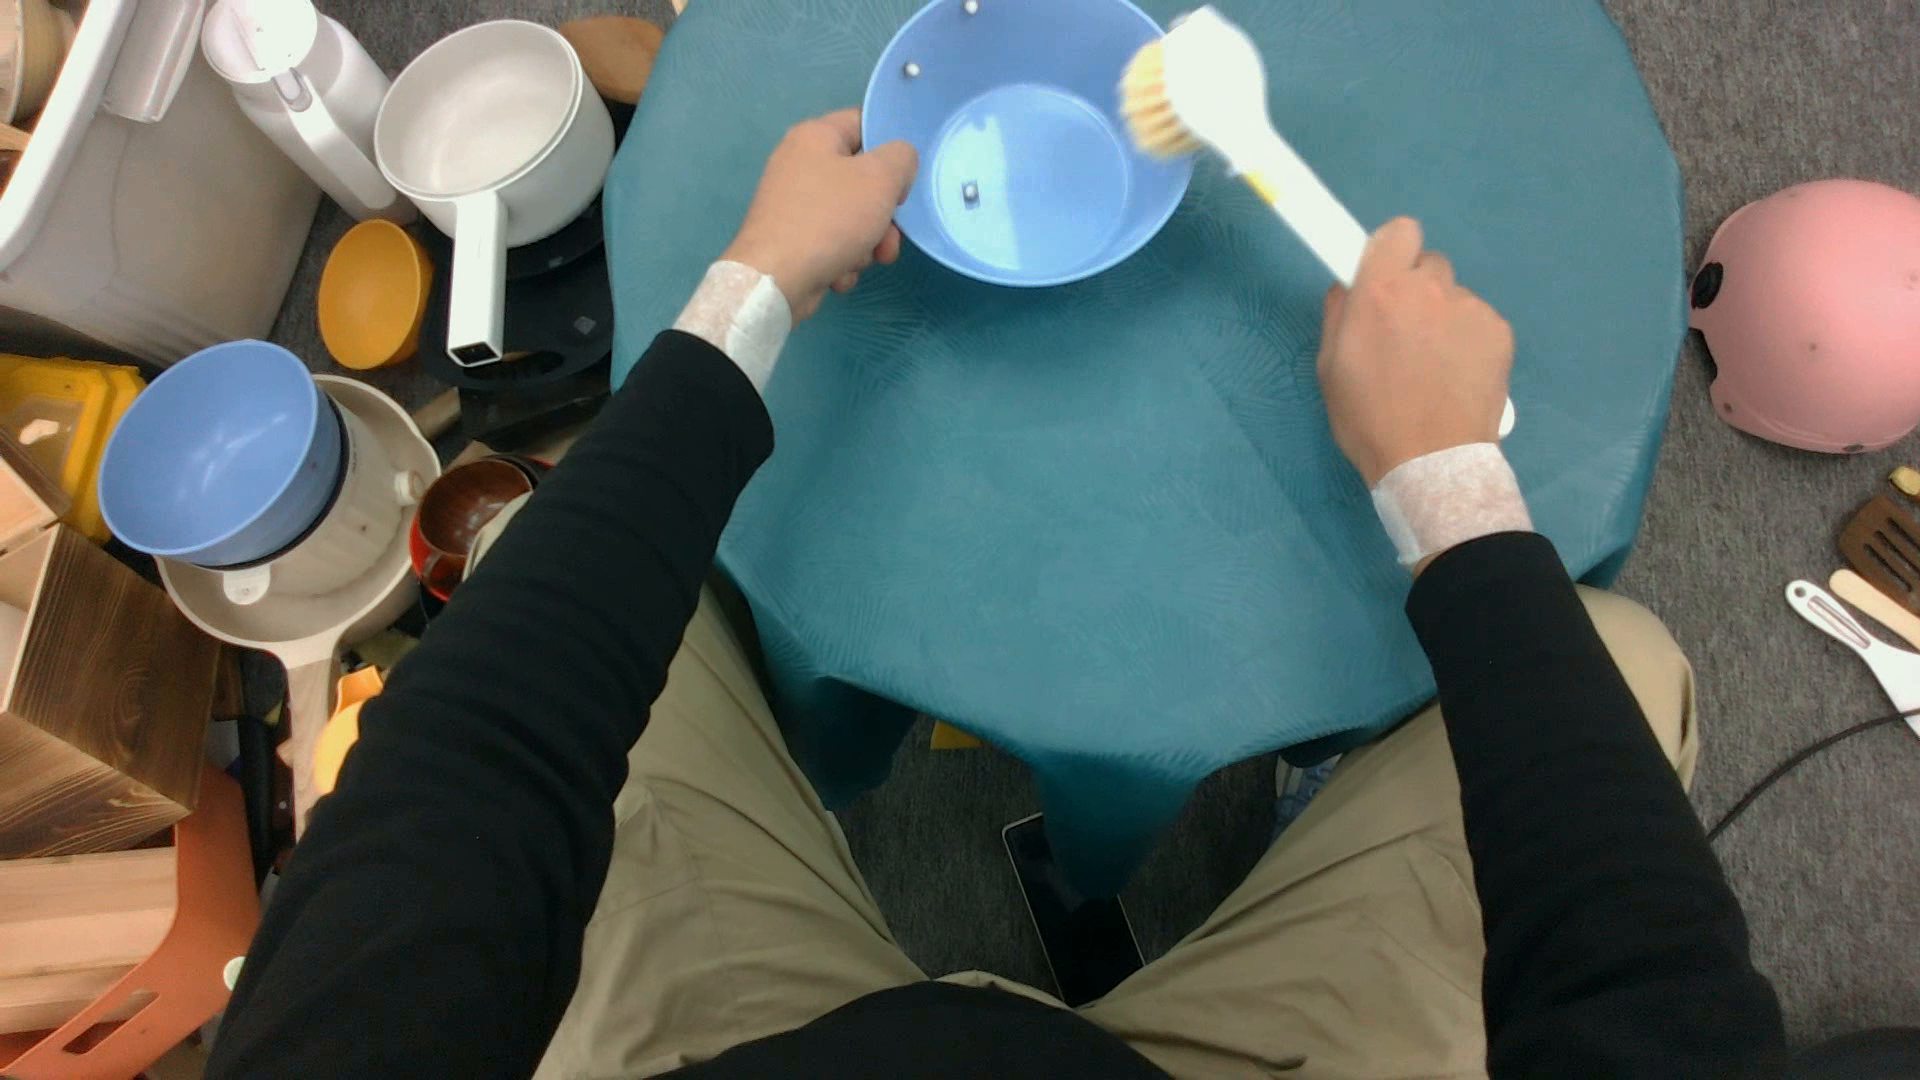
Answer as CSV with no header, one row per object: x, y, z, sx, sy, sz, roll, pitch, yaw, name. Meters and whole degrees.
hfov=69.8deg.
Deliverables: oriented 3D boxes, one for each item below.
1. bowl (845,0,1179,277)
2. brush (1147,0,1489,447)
0.028,-0.211,0.749,0.176,0.070,0.176,-1,74,3,bowl
0.181,-0.156,0.698,0.069,0.056,0.266,-38,101,-29,brush
